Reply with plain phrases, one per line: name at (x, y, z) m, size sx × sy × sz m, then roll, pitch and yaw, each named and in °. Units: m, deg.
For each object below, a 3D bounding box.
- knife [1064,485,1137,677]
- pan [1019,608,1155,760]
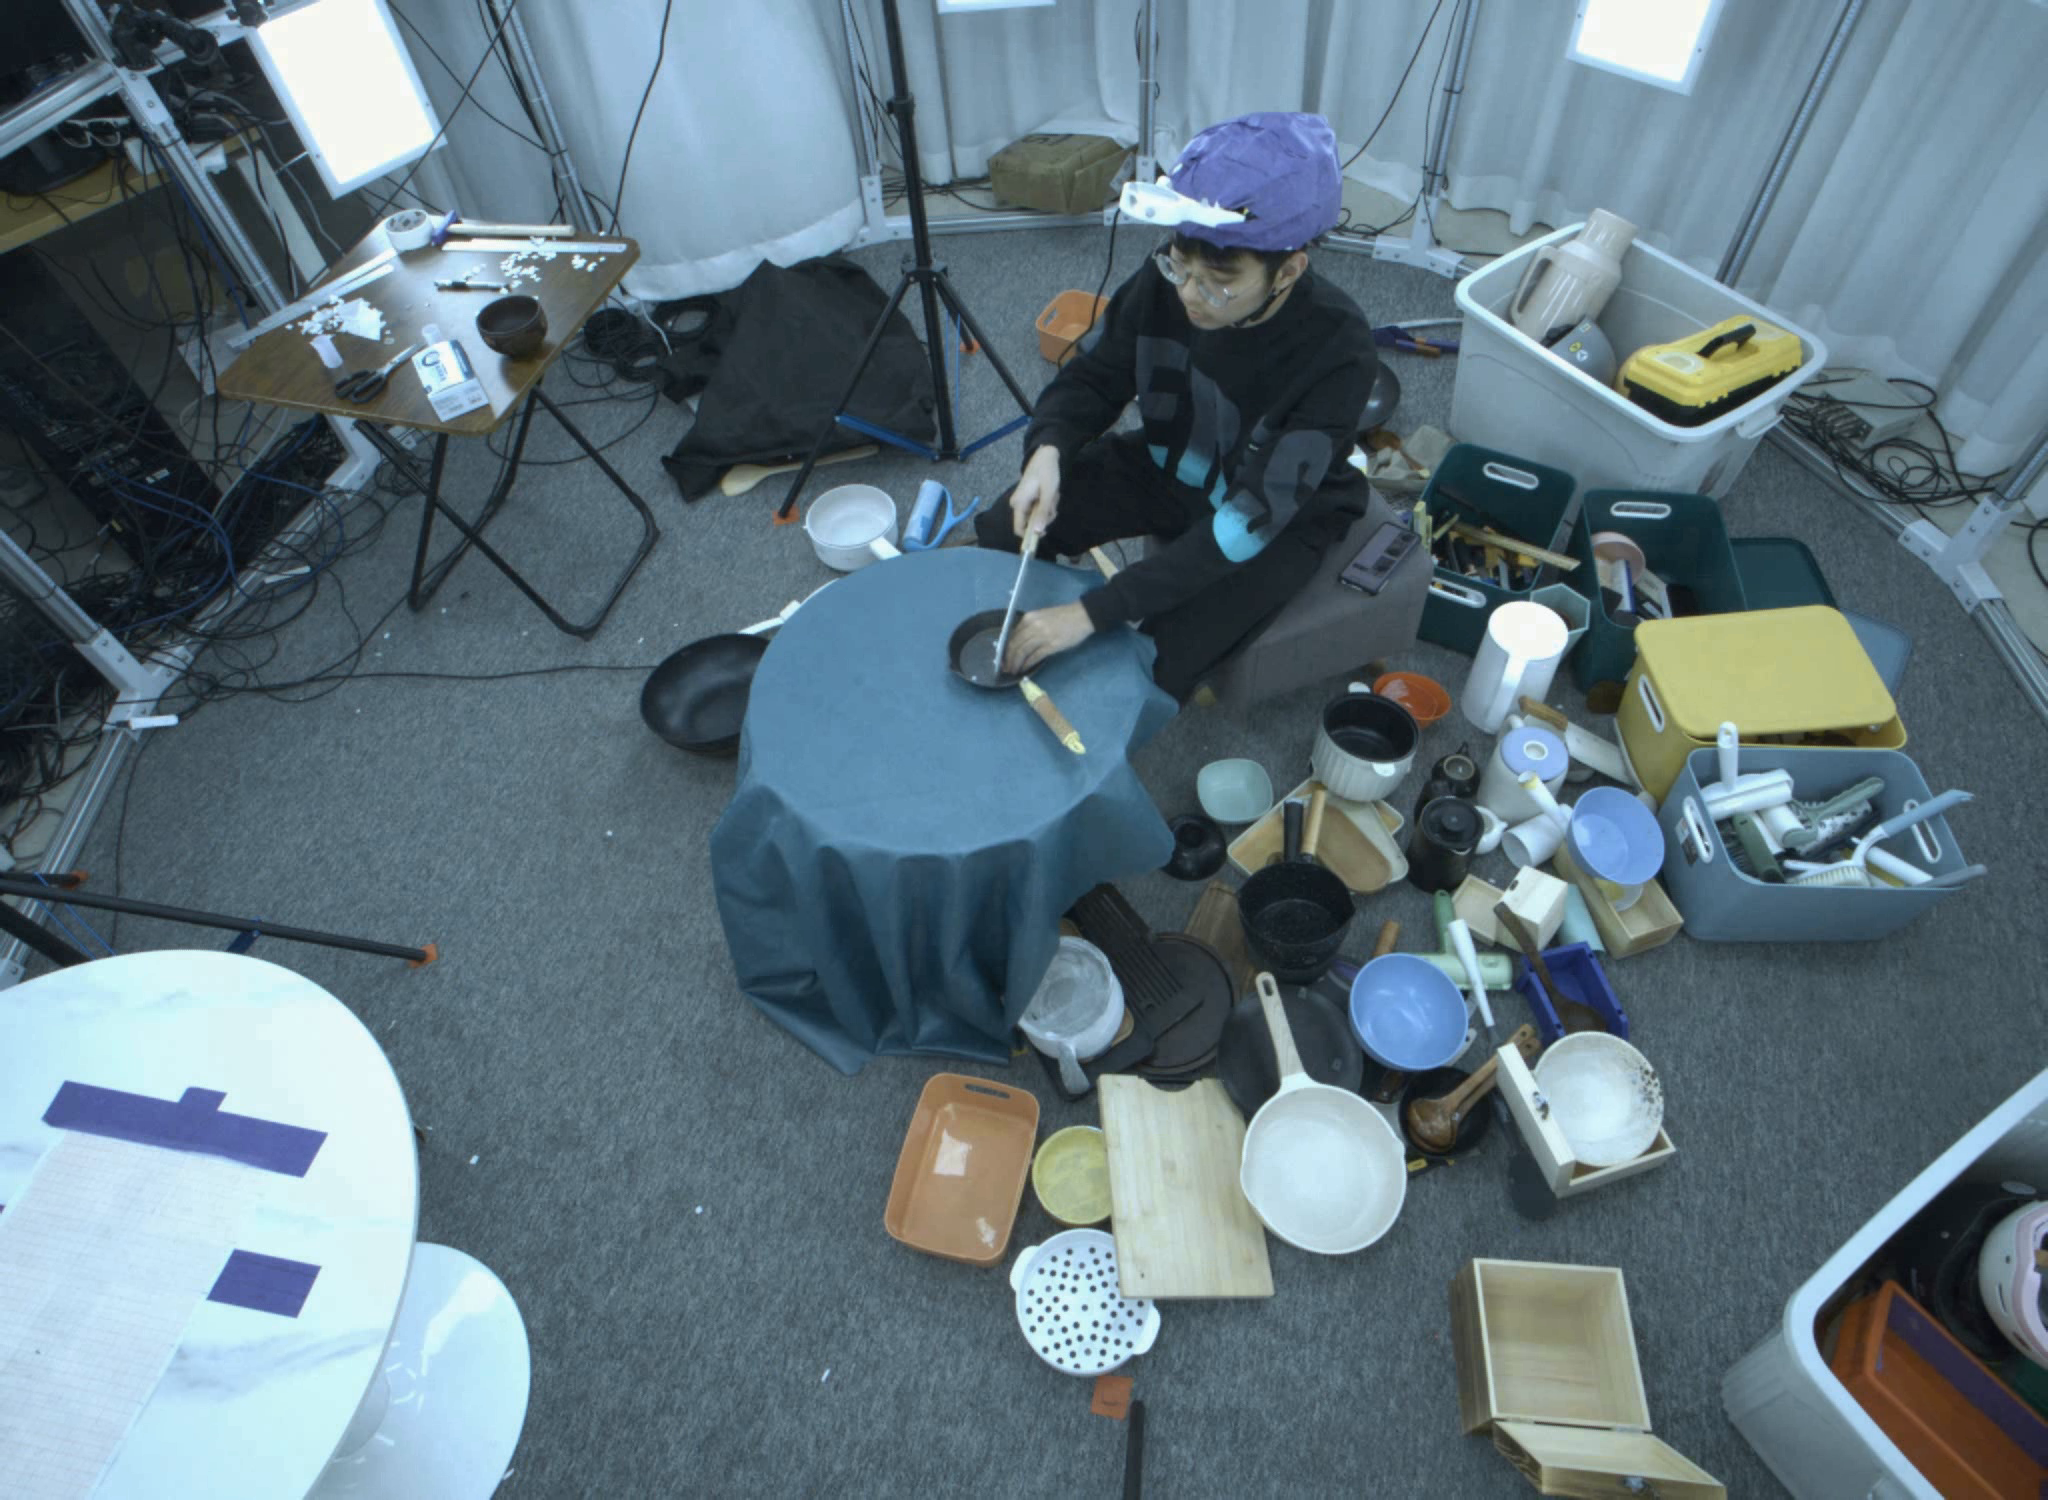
knife at (0.113, -0.262, 1.852) m, size 0.021 × 0.114 × 0.315 m, roll 18°, pitch 75°, yaw 5°
pan at (0.106, -0.093, 1.818) m, size 0.170 × 0.050 × 0.318 m, roll -22°, pitch 56°, yaw -14°
